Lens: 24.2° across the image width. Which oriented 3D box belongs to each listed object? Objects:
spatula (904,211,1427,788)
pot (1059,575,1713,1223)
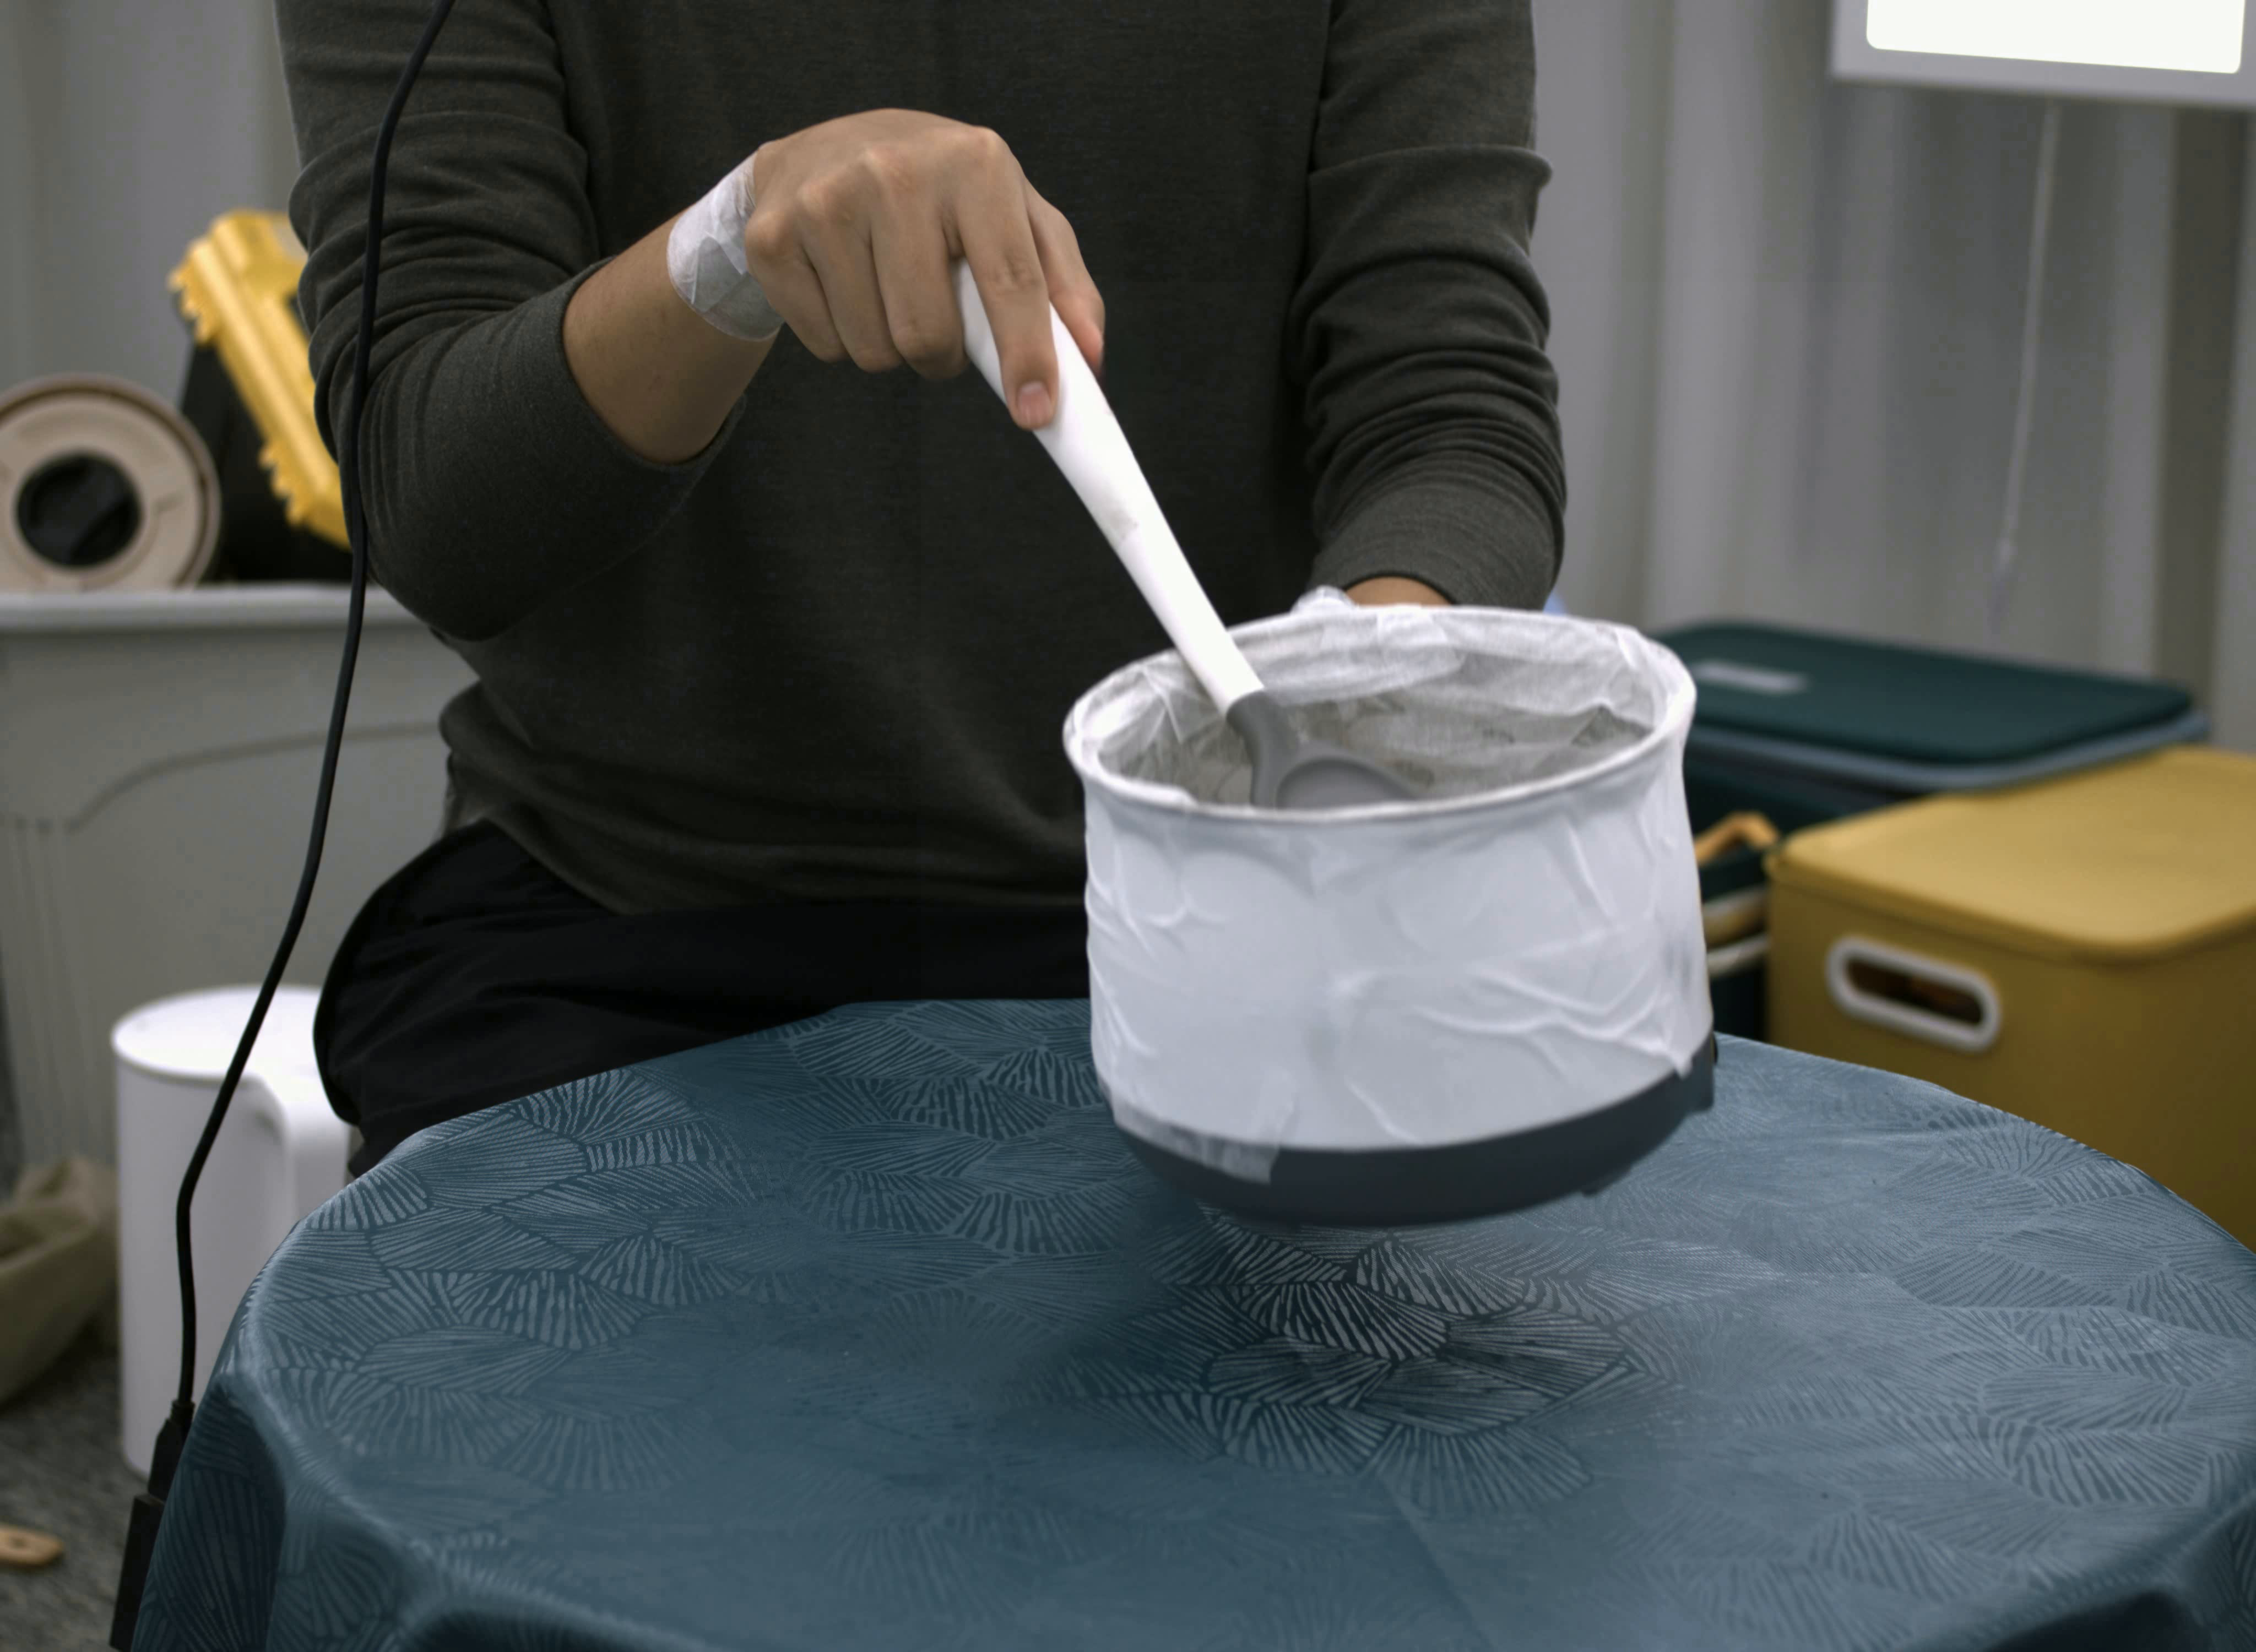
[{"bbox_3d":[0.017,-0.070,1.512,0.059,0.032,0.284,-17,58,-29],"label":"spatula"},{"bbox_3d":[0.070,0.014,1.501,0.178,0.138,0.231,-7,20,-6],"label":"pot"}]
